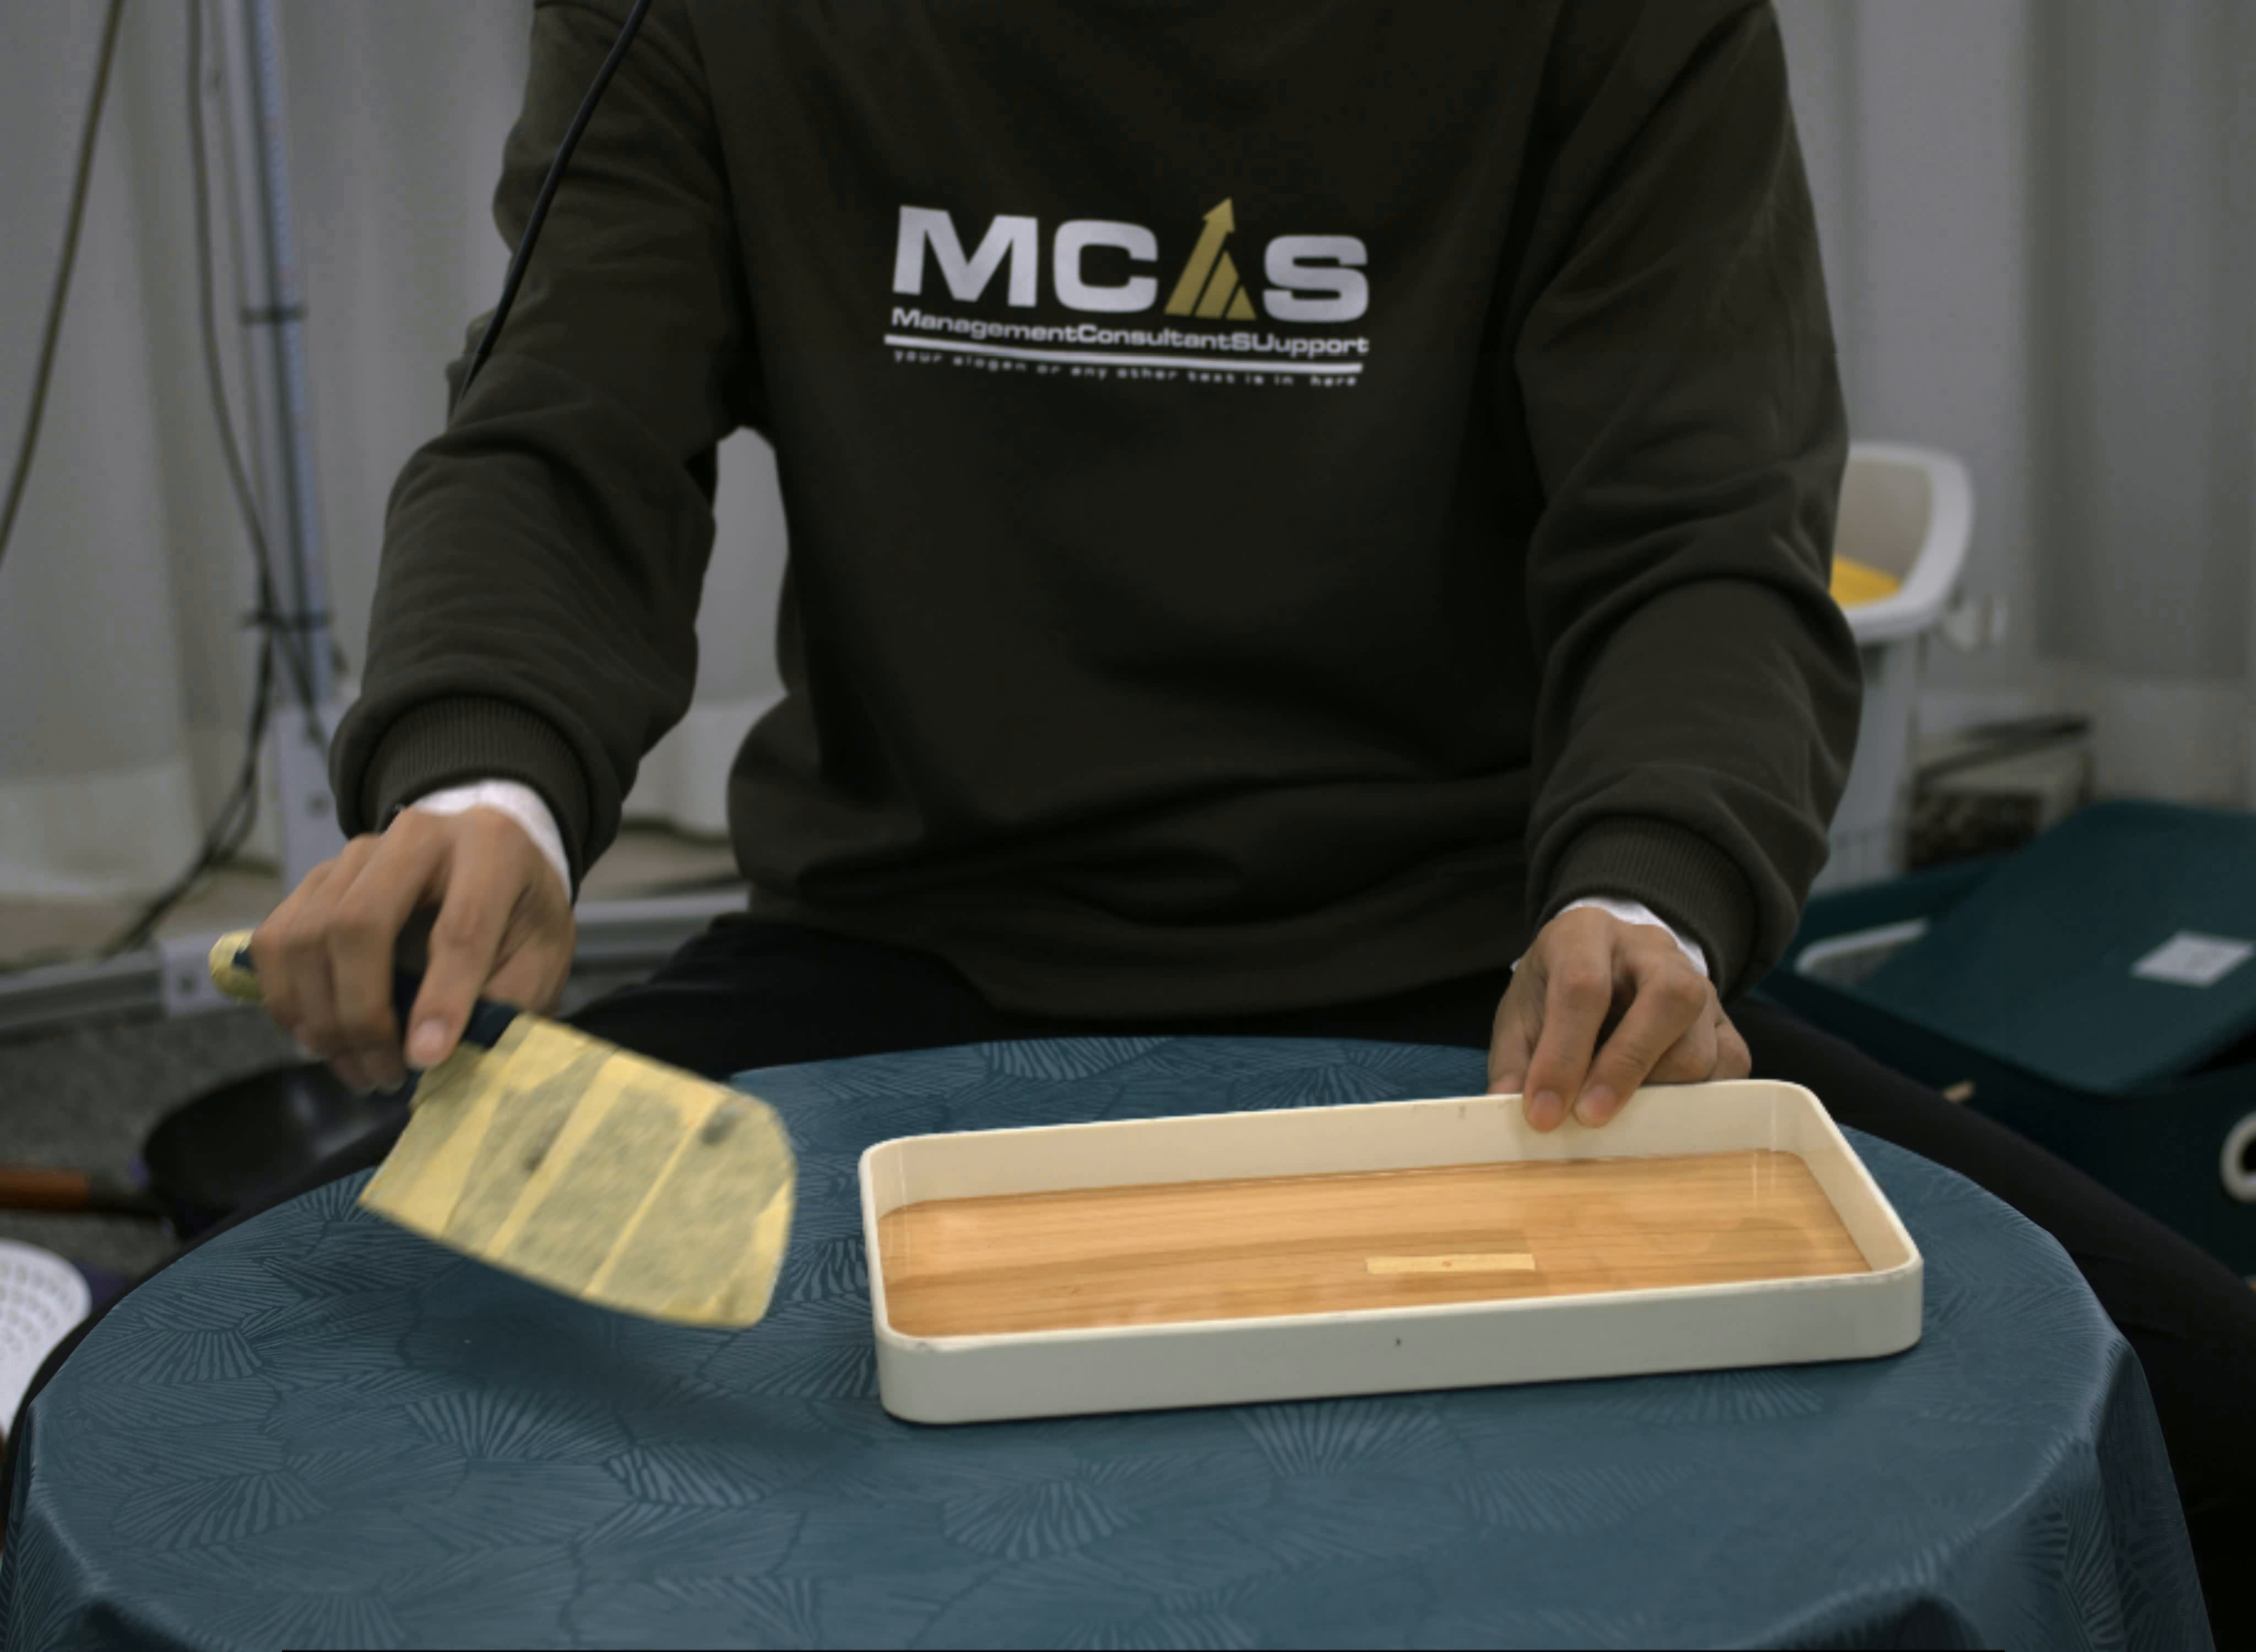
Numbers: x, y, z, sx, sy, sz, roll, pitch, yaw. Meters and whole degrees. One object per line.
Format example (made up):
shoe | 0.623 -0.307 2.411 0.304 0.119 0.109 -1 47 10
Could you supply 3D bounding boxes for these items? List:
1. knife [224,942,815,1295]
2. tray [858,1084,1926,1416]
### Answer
knife | -0.186 0.083 1.605 0.291 0.027 0.081 18 65 46
tray | 0.072 0.124 1.619 0.299 0.027 0.193 -3 14 -3
